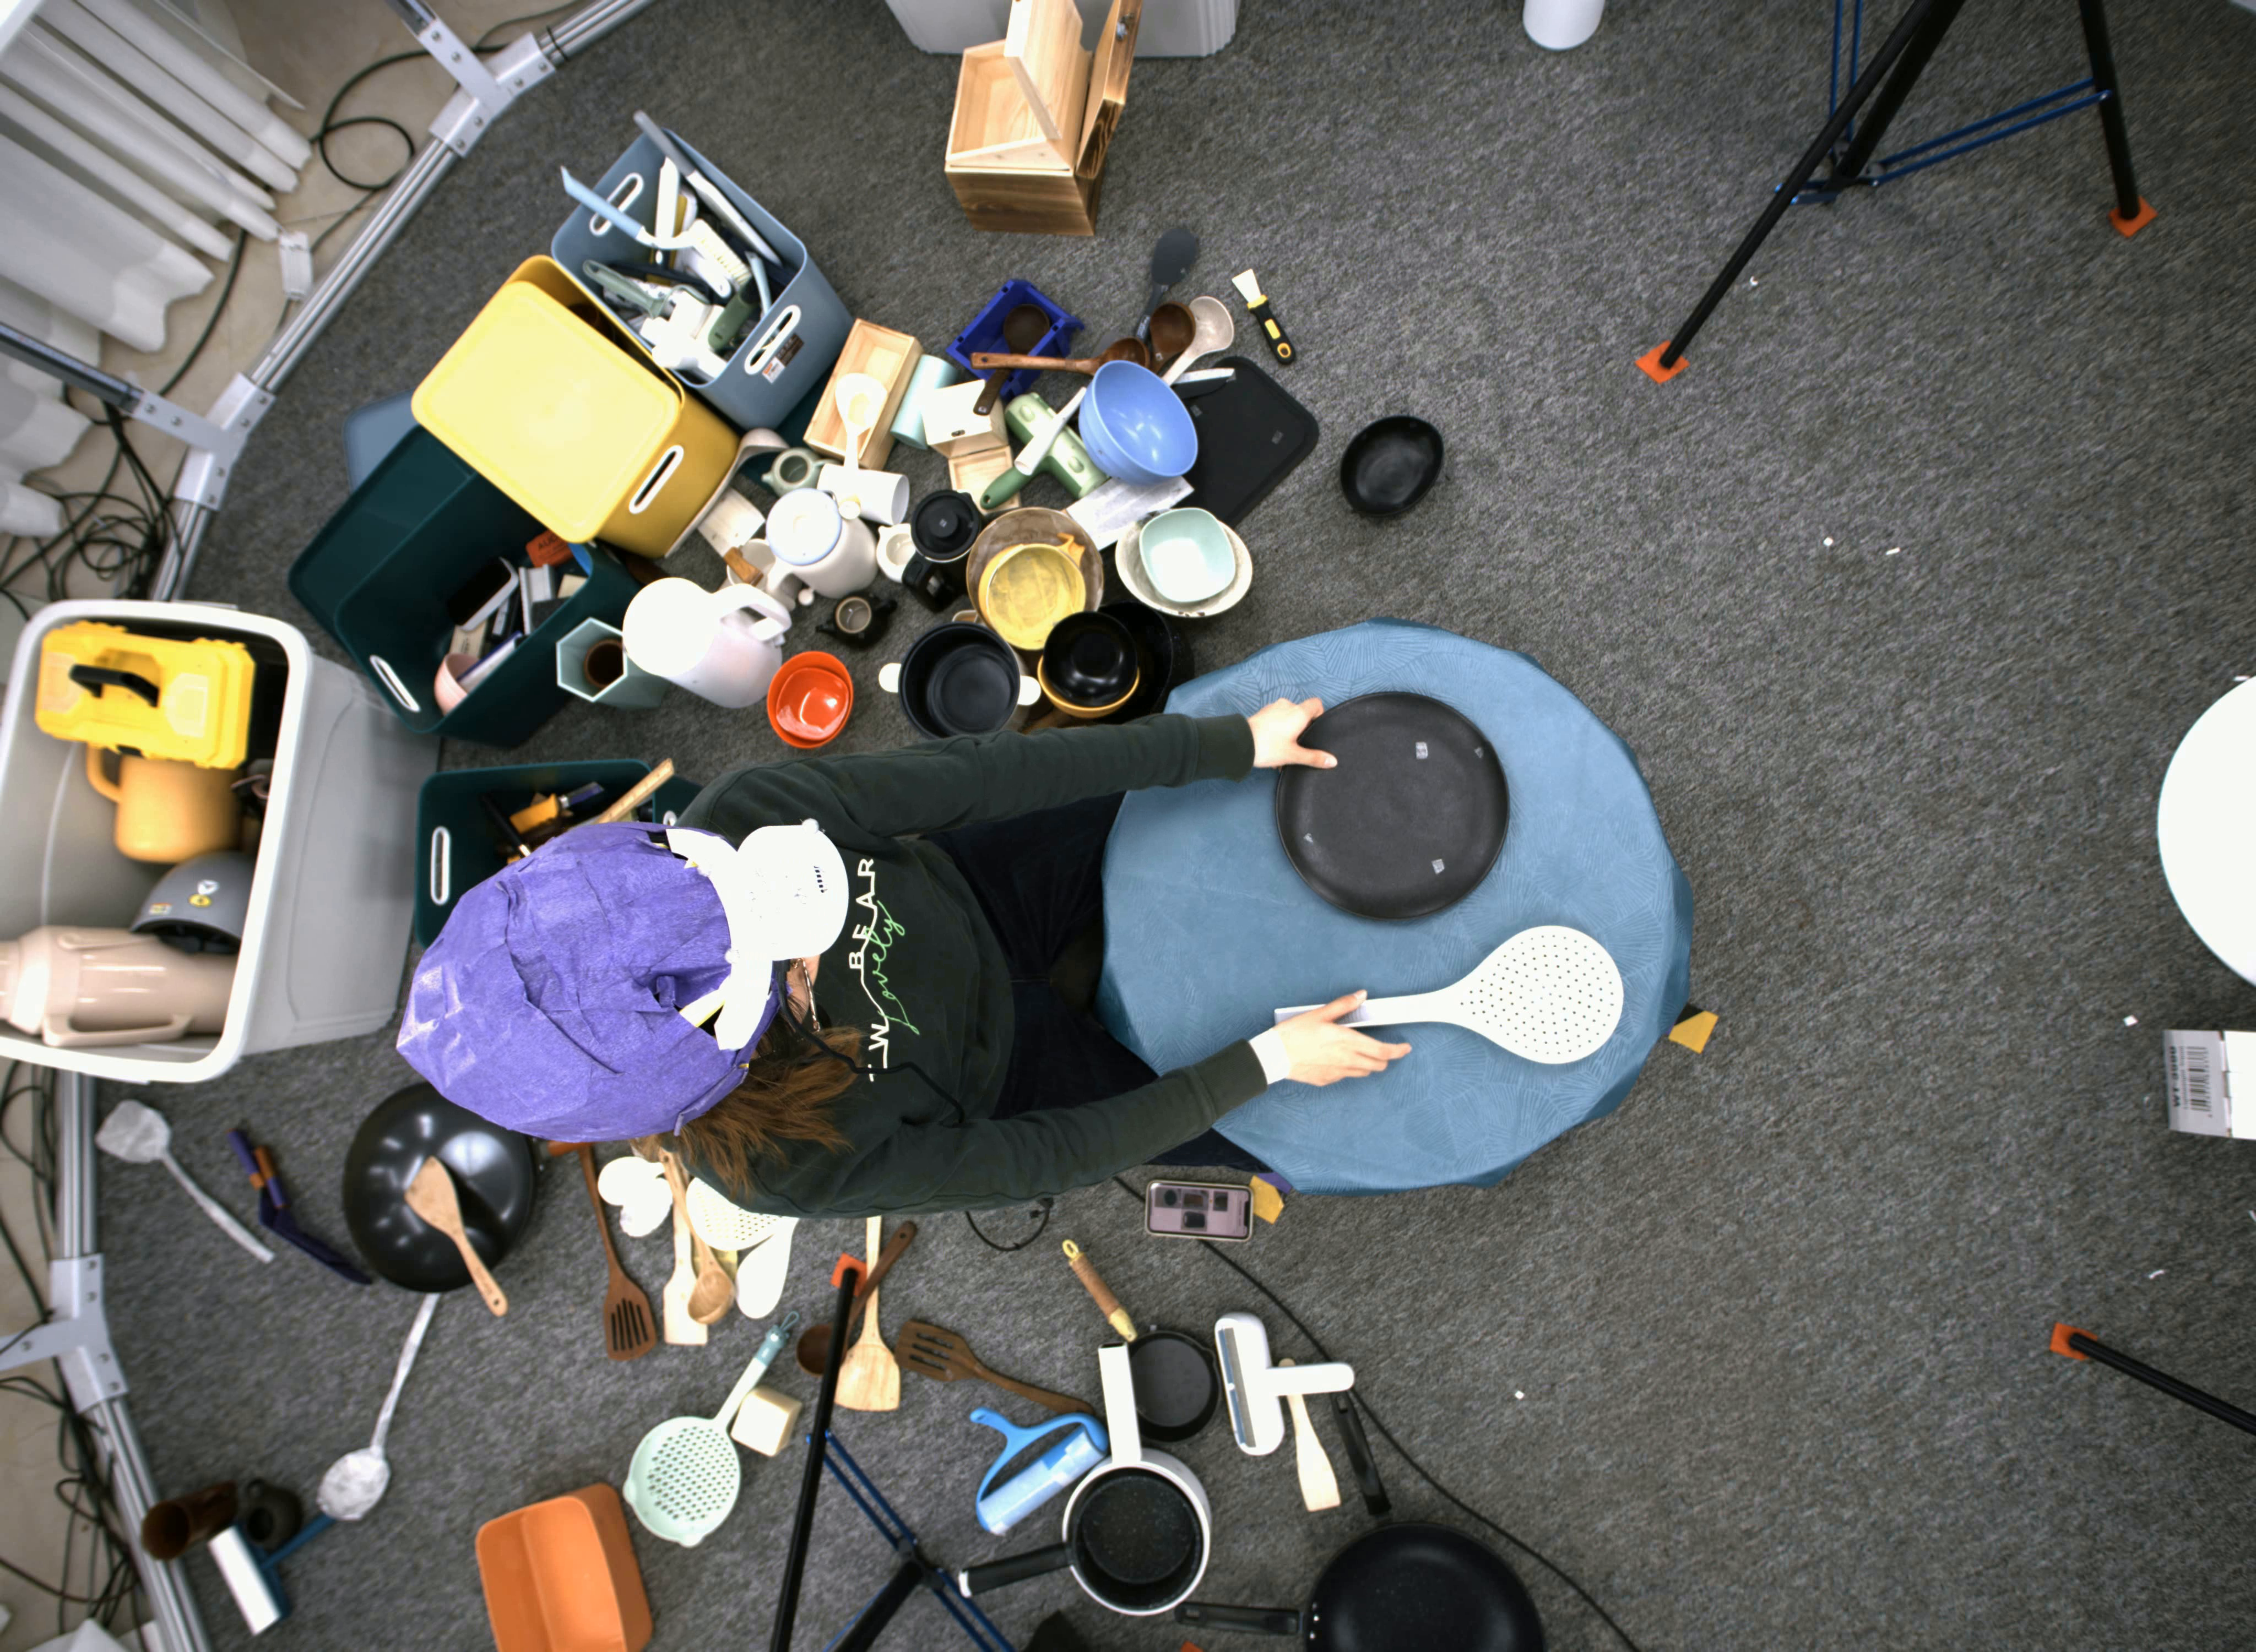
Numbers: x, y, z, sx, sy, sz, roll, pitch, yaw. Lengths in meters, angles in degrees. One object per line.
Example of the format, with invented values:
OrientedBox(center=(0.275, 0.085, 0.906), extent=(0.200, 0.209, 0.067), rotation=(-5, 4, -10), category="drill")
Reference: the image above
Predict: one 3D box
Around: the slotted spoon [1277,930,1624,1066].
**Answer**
OrientedBox(center=(0.327, 0.186, 1.423), extent=(0.351, 0.046, 0.135), rotation=(-7, 83, 11), category="slotted spoon")

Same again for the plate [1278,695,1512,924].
OrientedBox(center=(0.281, -0.019, 1.457), extent=(0.245, 0.023, 0.243), rotation=(-1, 86, 10), category="plate")
